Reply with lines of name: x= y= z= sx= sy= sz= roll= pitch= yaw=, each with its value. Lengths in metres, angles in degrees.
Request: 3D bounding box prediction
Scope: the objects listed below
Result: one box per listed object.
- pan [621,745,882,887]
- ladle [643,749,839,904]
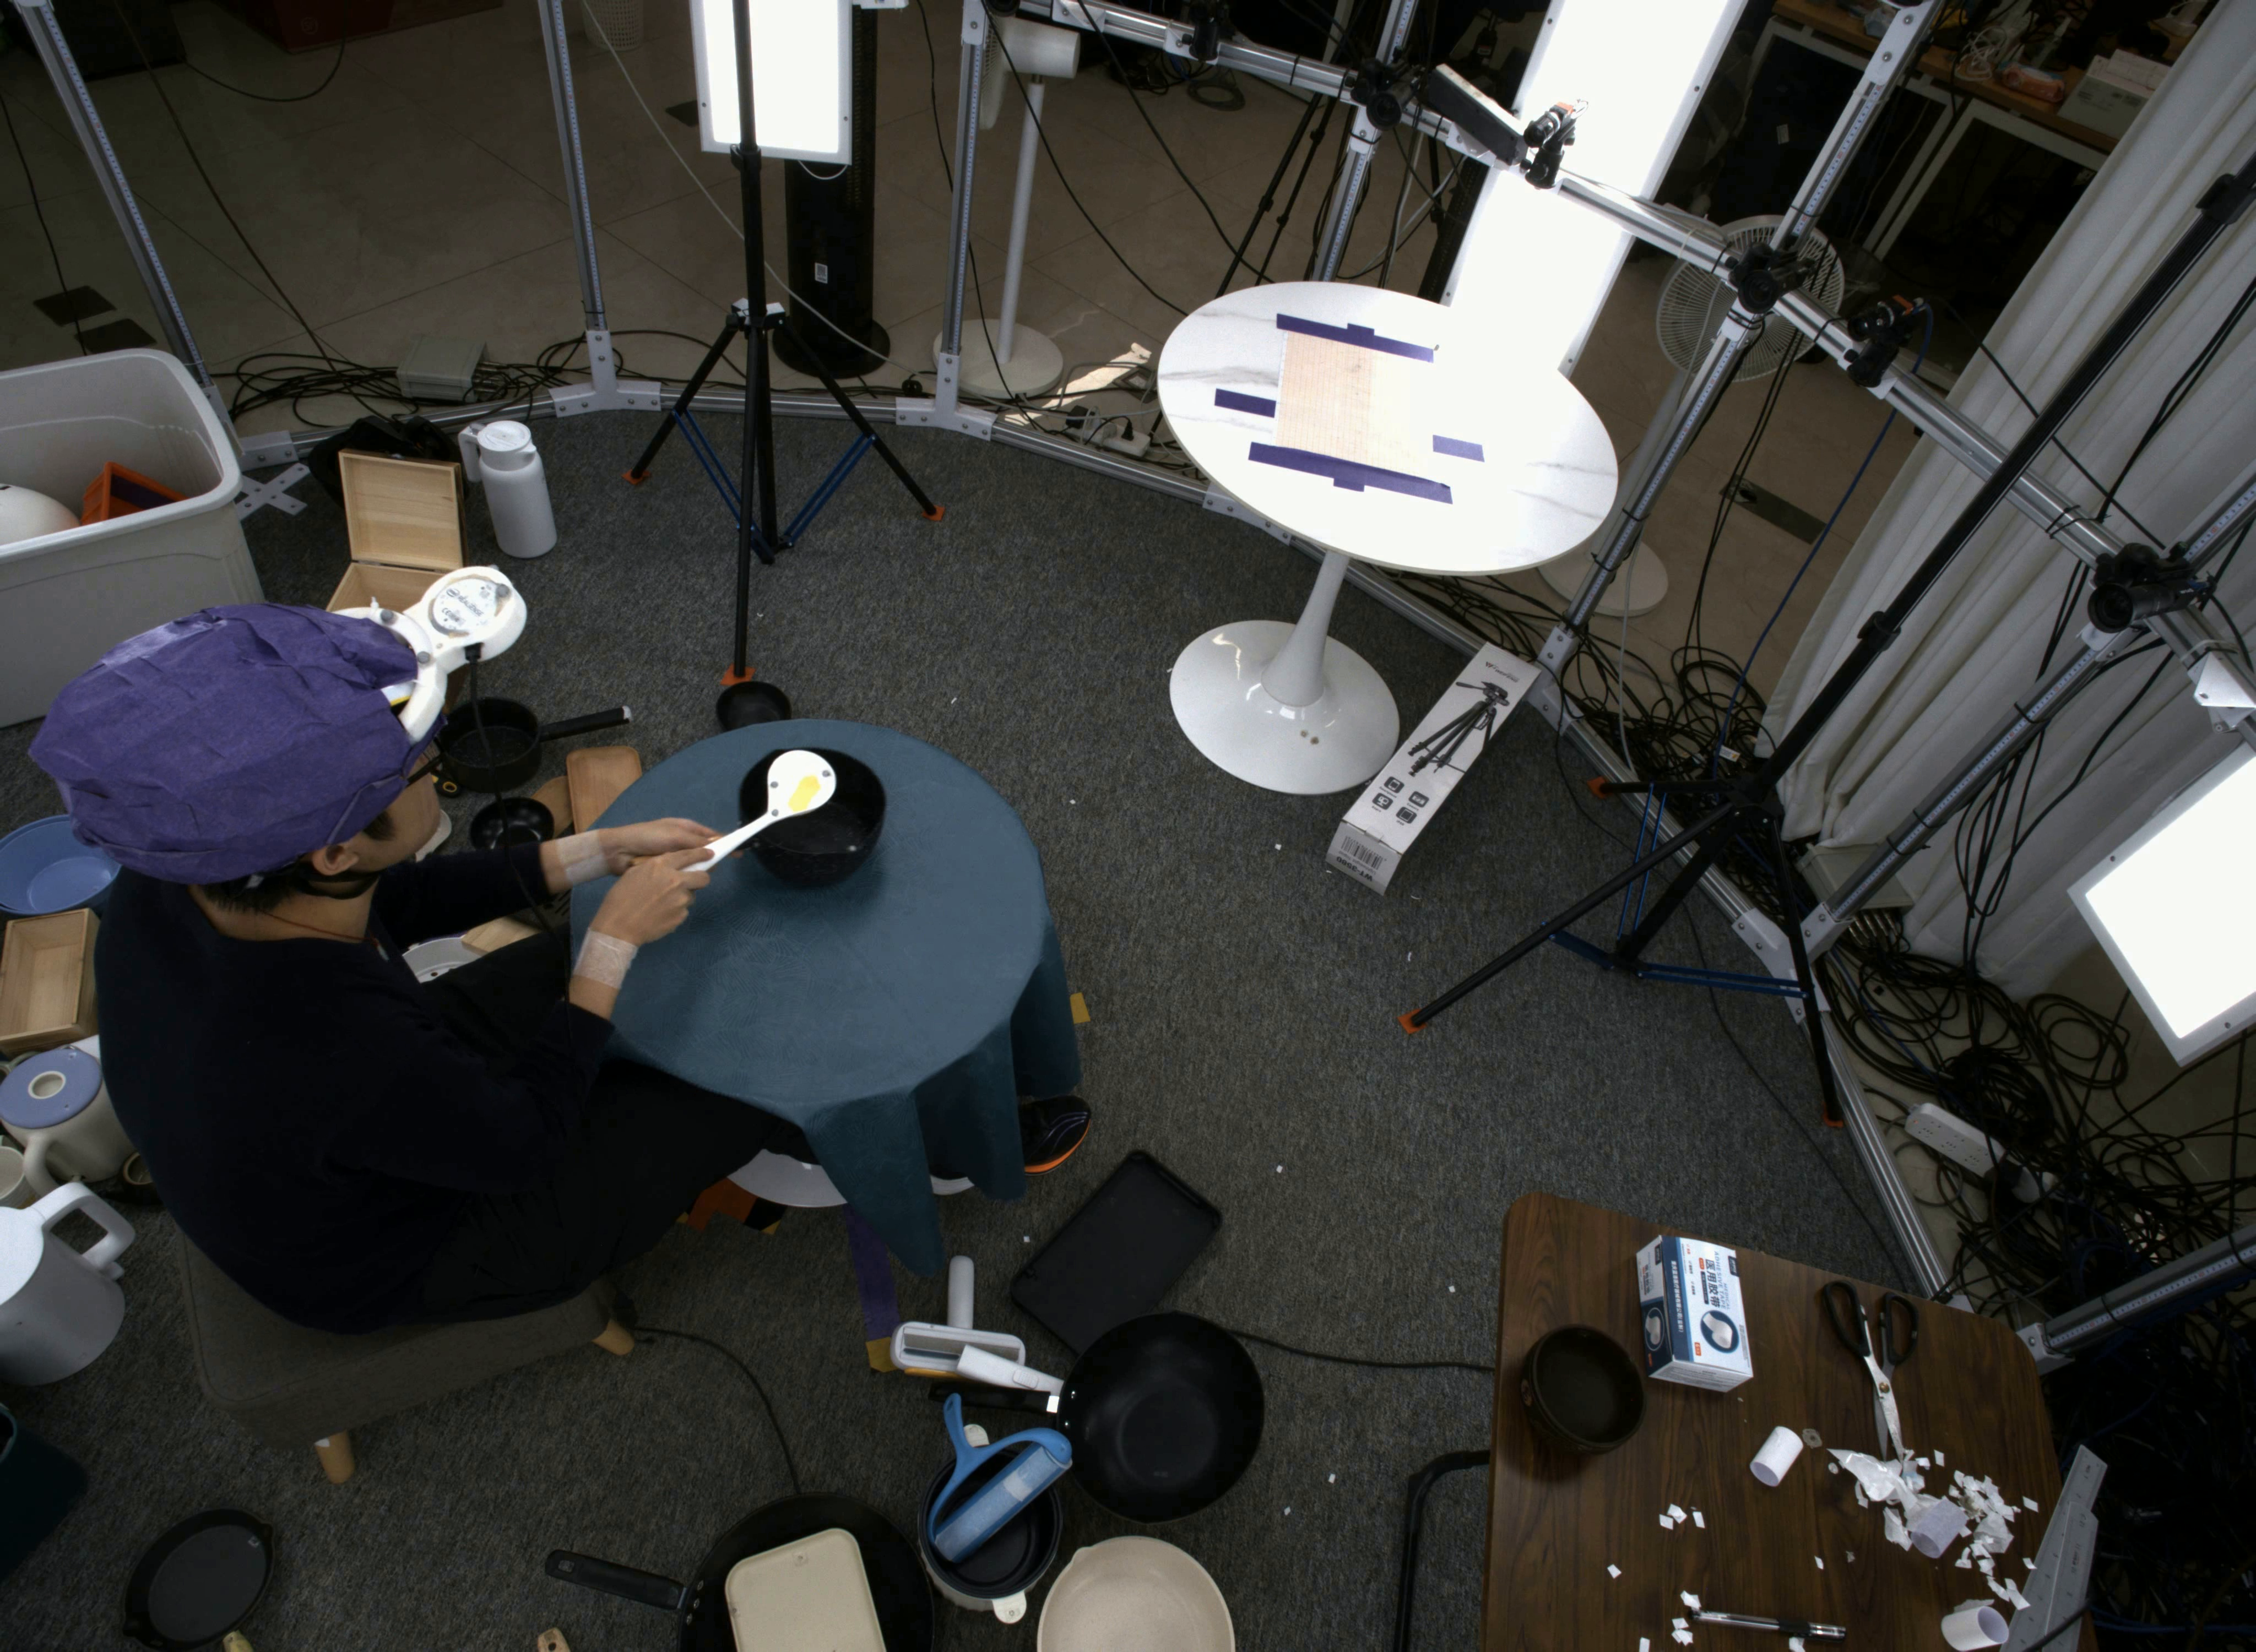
pan: x=-0.464 y=0.016 z=1.597 sx=0.345 sy=0.110 sz=0.202 roll=-29 pitch=62 yaw=-38
ladle: x=-0.457 y=-0.002 z=1.530 sx=0.089 sy=0.070 sz=0.293 roll=39 pitch=36 yaw=6
